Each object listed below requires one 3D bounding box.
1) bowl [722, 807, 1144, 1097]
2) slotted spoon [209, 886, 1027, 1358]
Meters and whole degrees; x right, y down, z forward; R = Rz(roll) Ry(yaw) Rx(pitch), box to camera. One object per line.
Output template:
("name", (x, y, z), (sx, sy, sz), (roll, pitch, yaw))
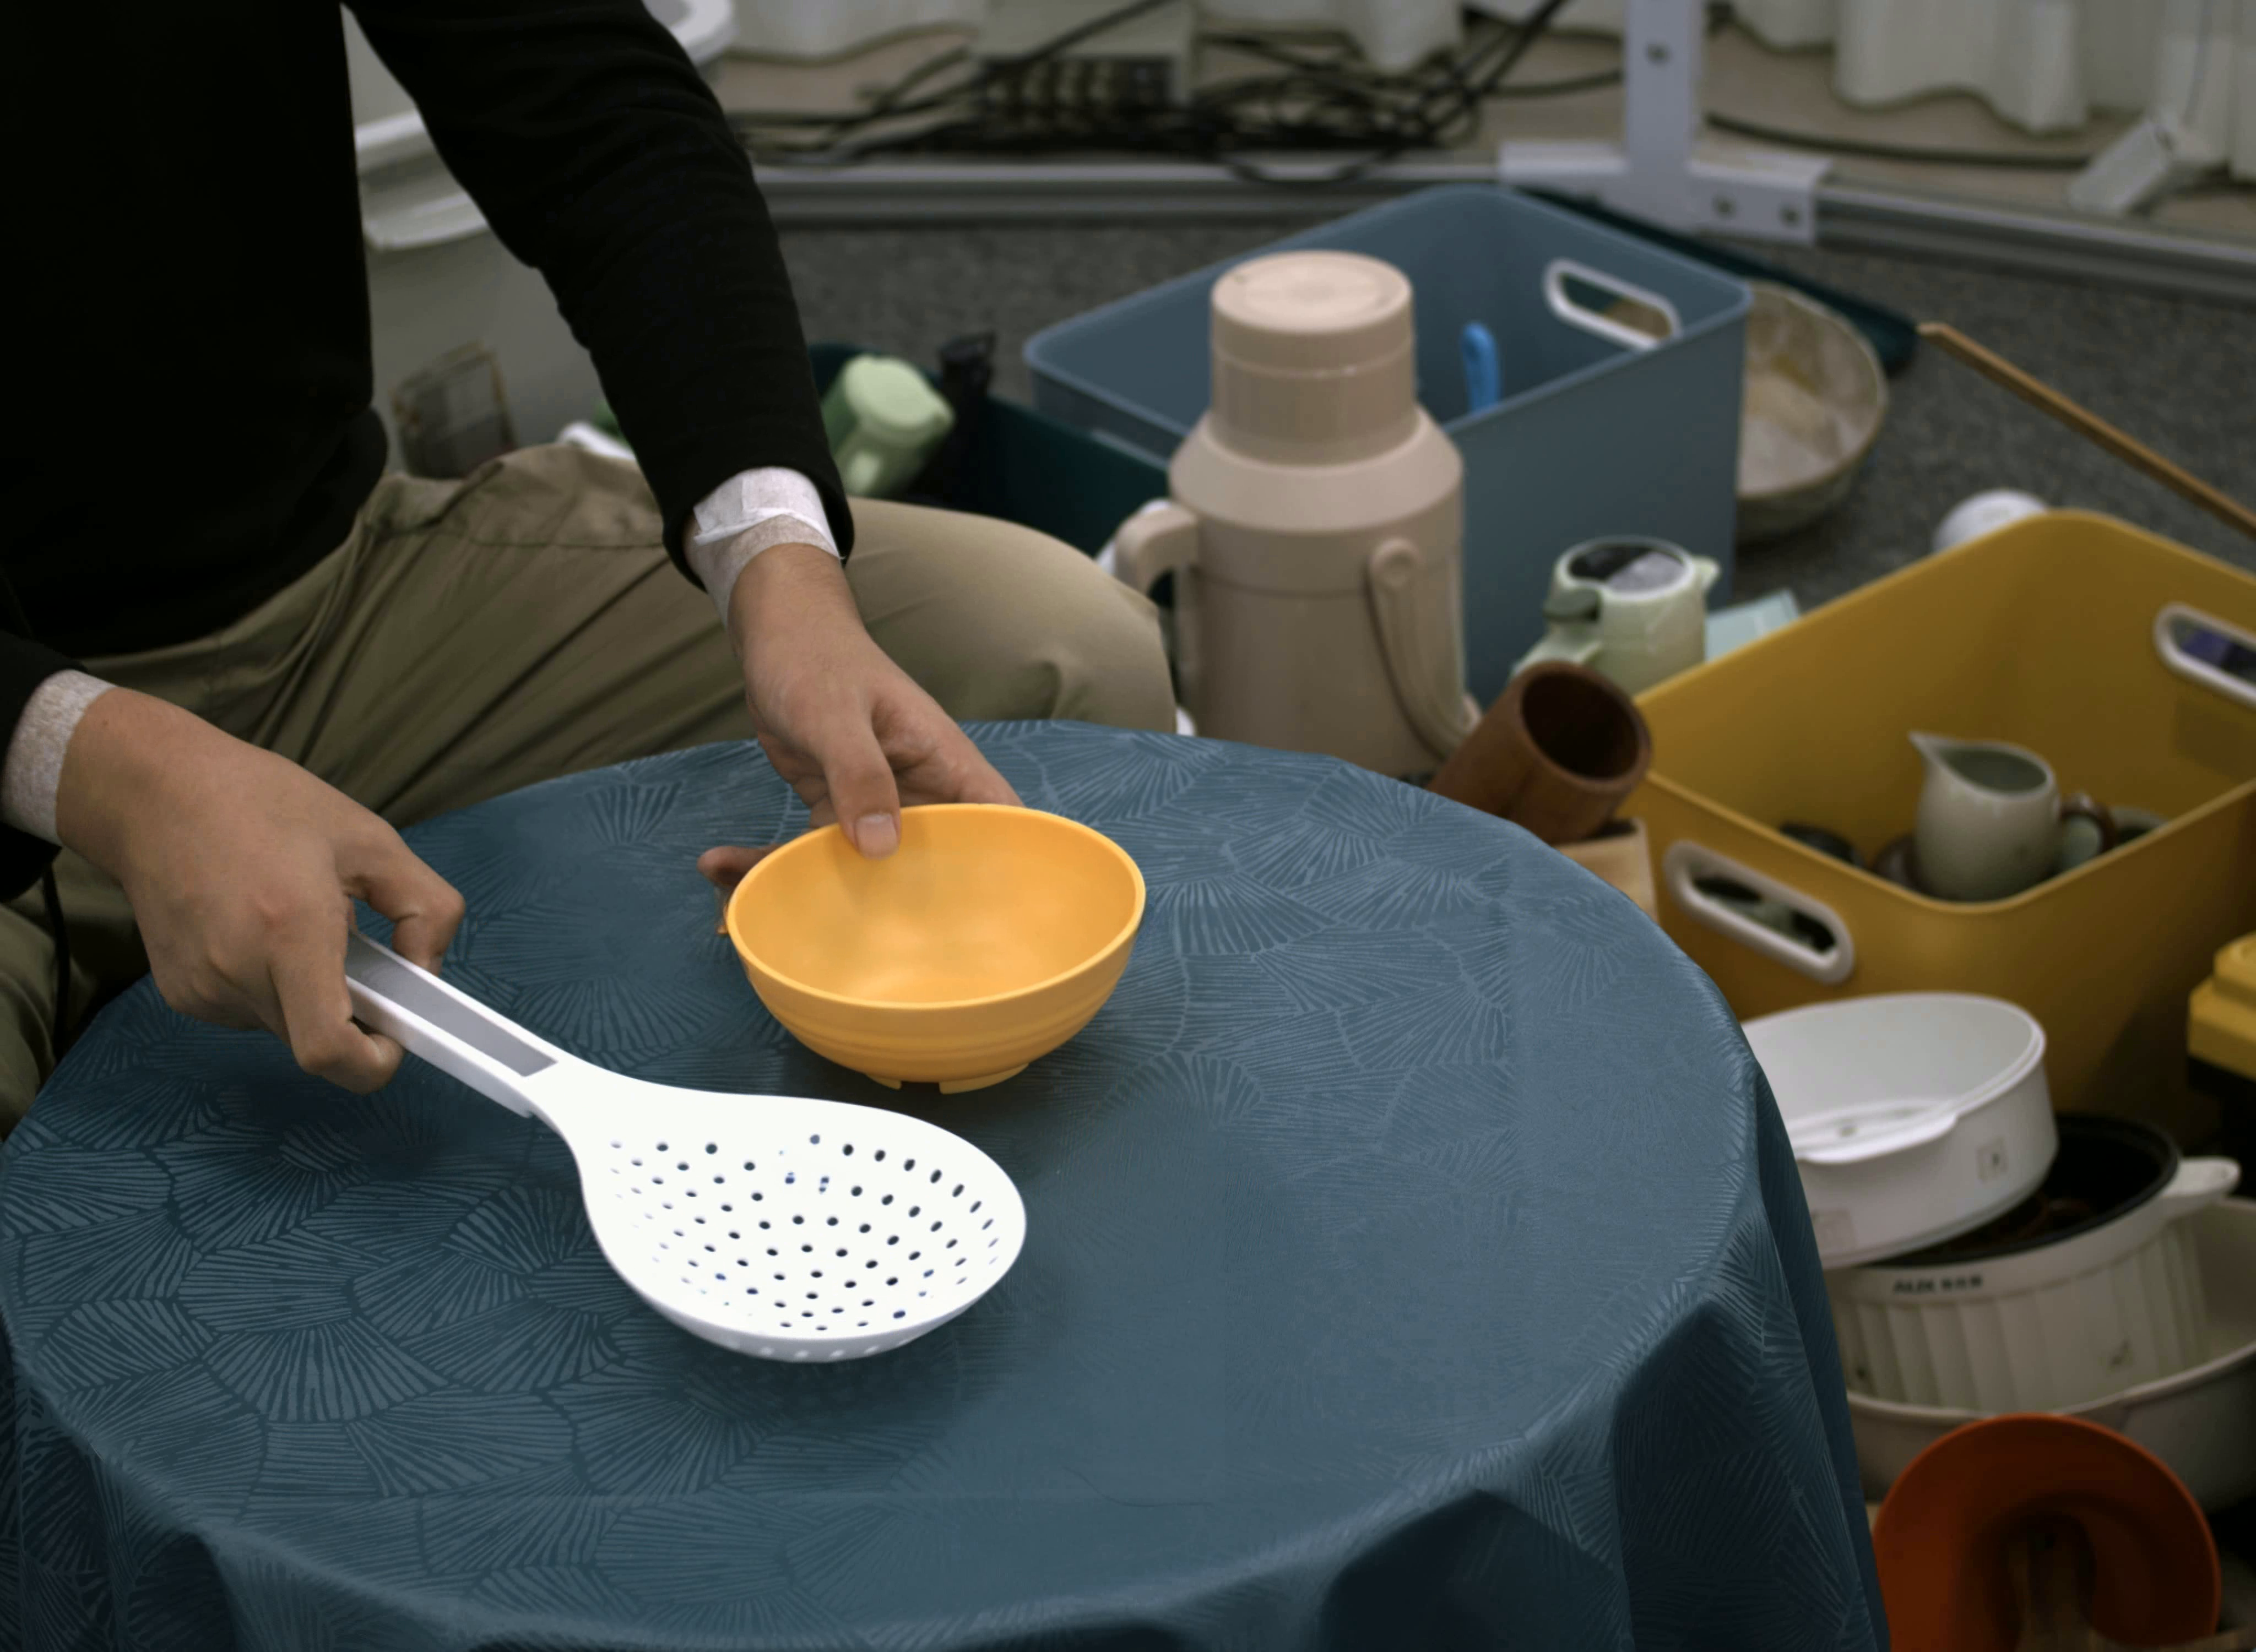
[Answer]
("bowl", (-0.067, 0.053, 1.941), (0.144, 0.059, 0.147), (0, 27, 1))
("slotted spoon", (-0.180, 0.091, 1.845), (0.350, 0.045, 0.138), (30, 36, 32))
